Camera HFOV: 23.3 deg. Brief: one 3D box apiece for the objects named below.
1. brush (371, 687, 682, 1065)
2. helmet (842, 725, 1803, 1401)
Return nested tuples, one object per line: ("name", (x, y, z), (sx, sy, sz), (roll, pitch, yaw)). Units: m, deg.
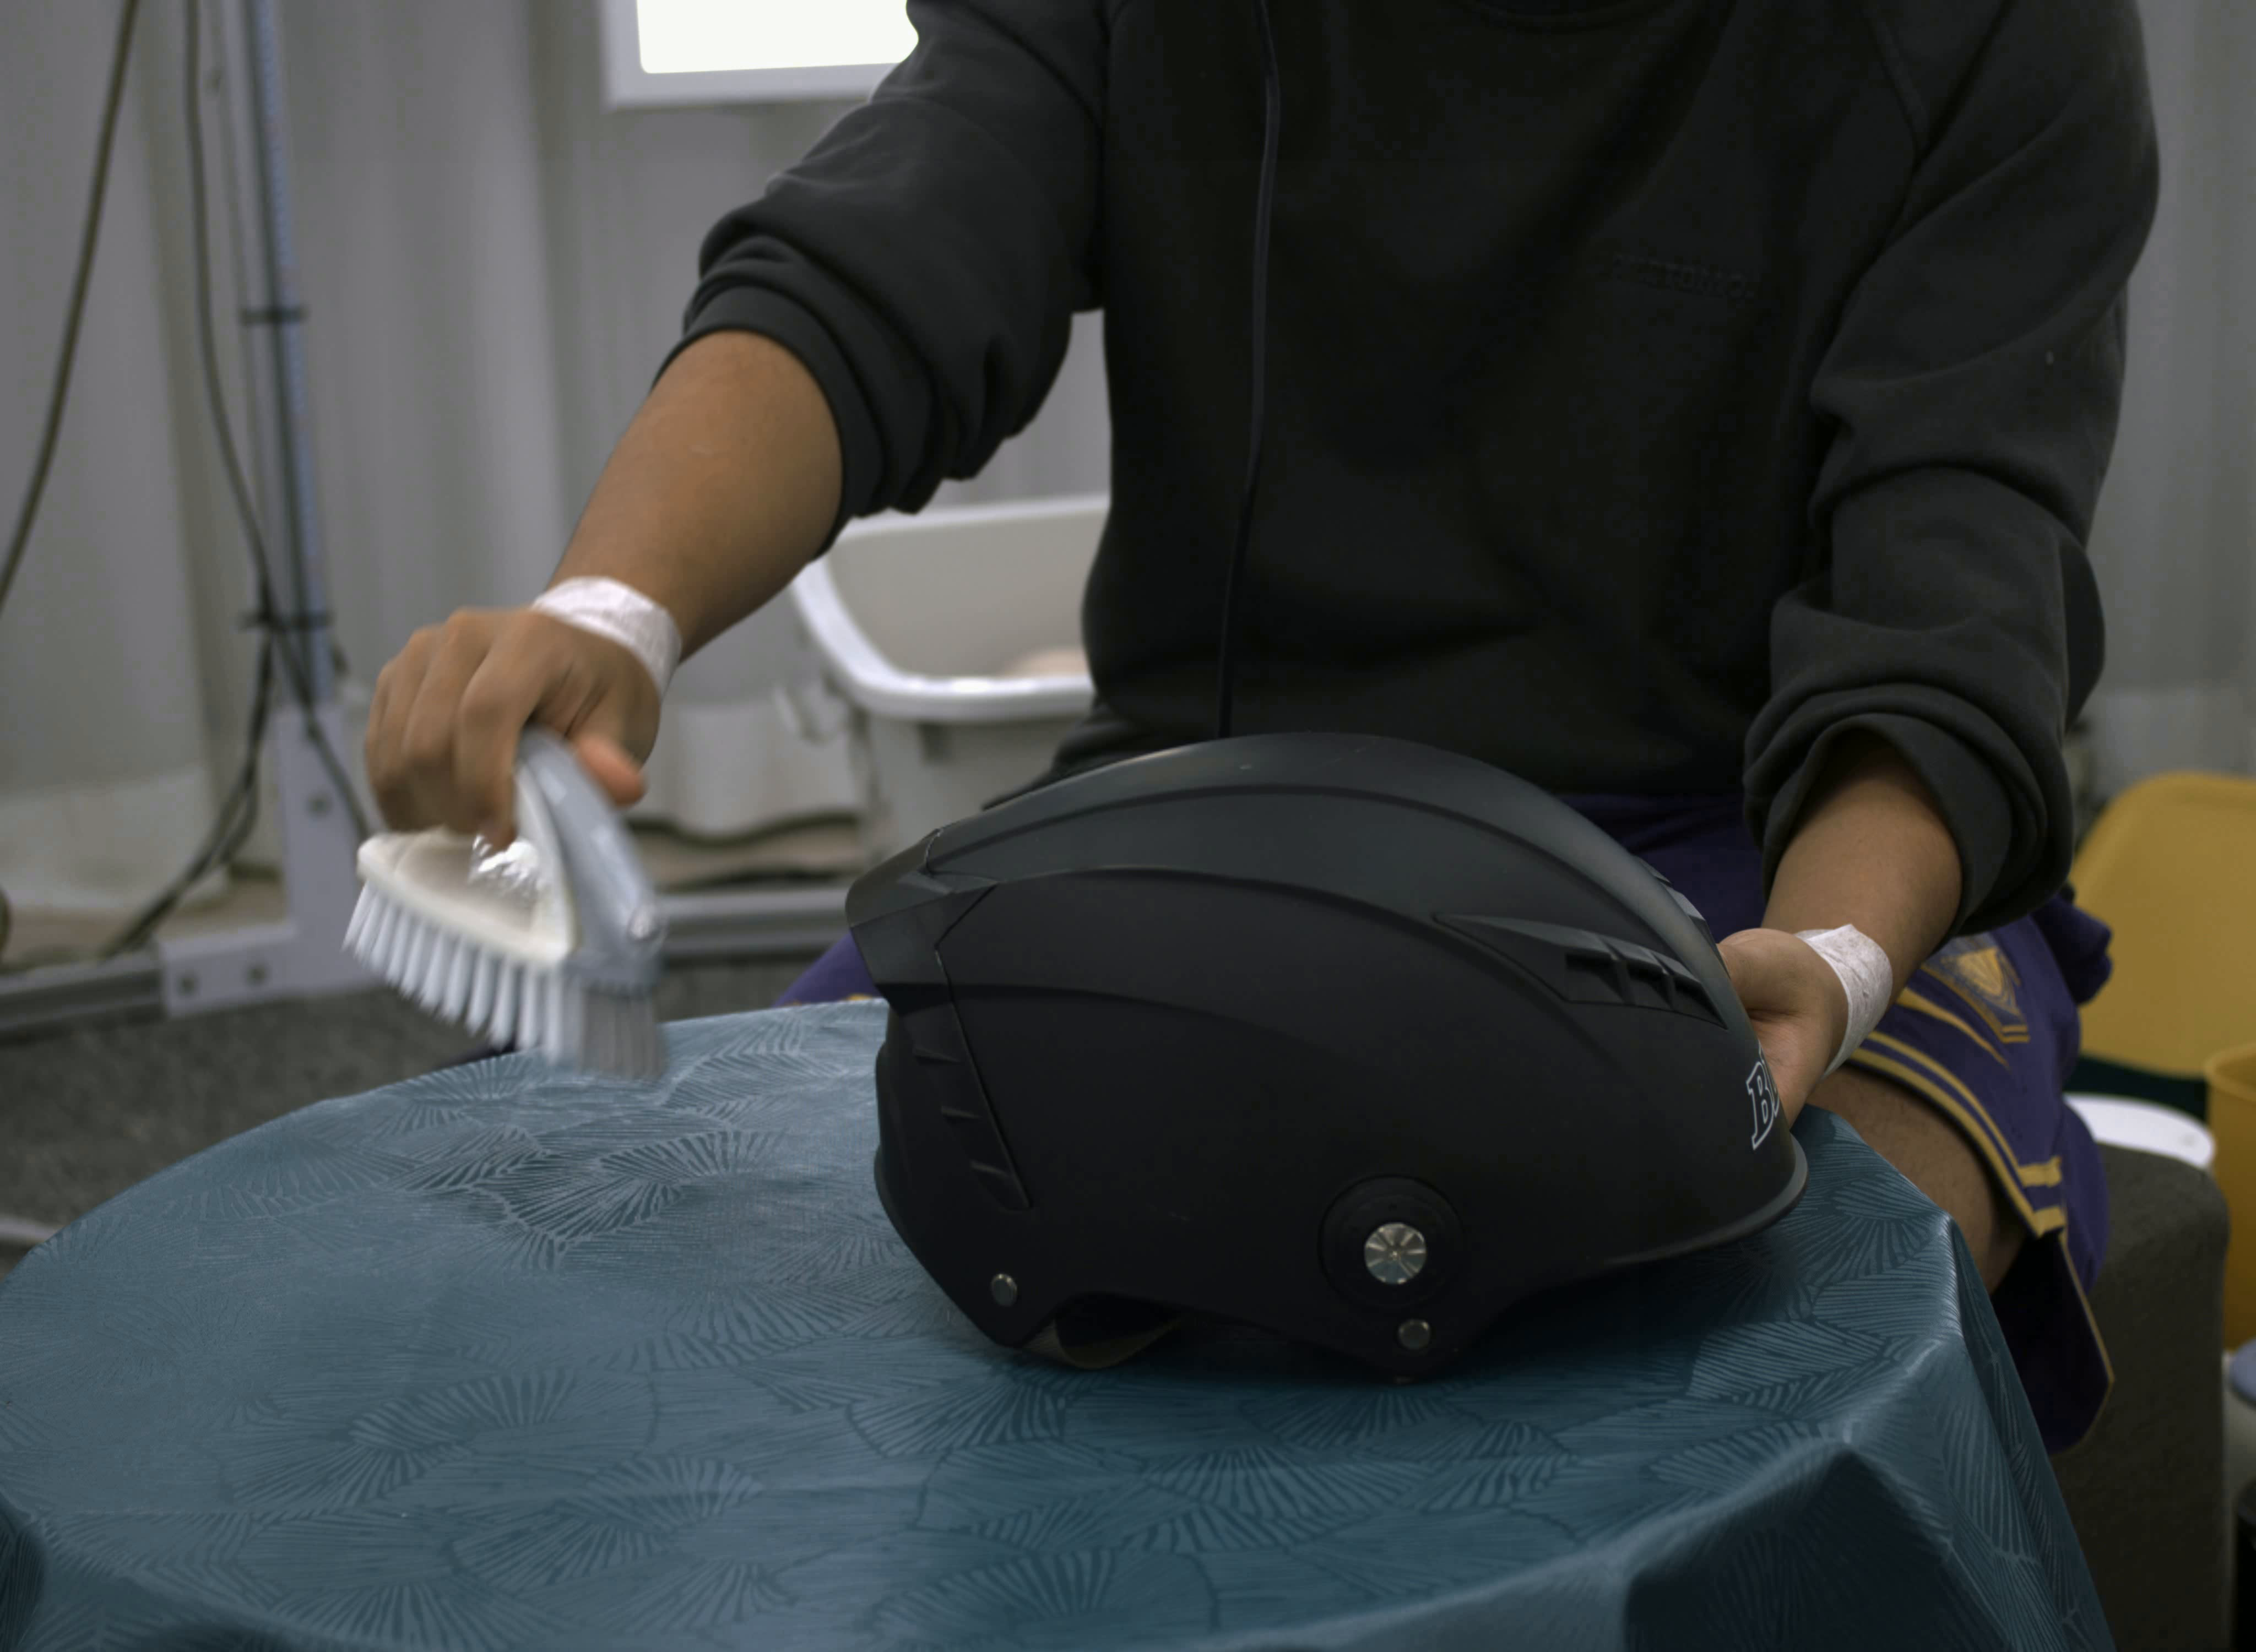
("brush", (-0.182, 0.011, 1.724), (0.061, 0.094, 0.177), (-6, 19, -31))
("helmet", (0.056, 0.056, 1.621), (0.276, 0.172, 0.248), (-5, 15, 11))
